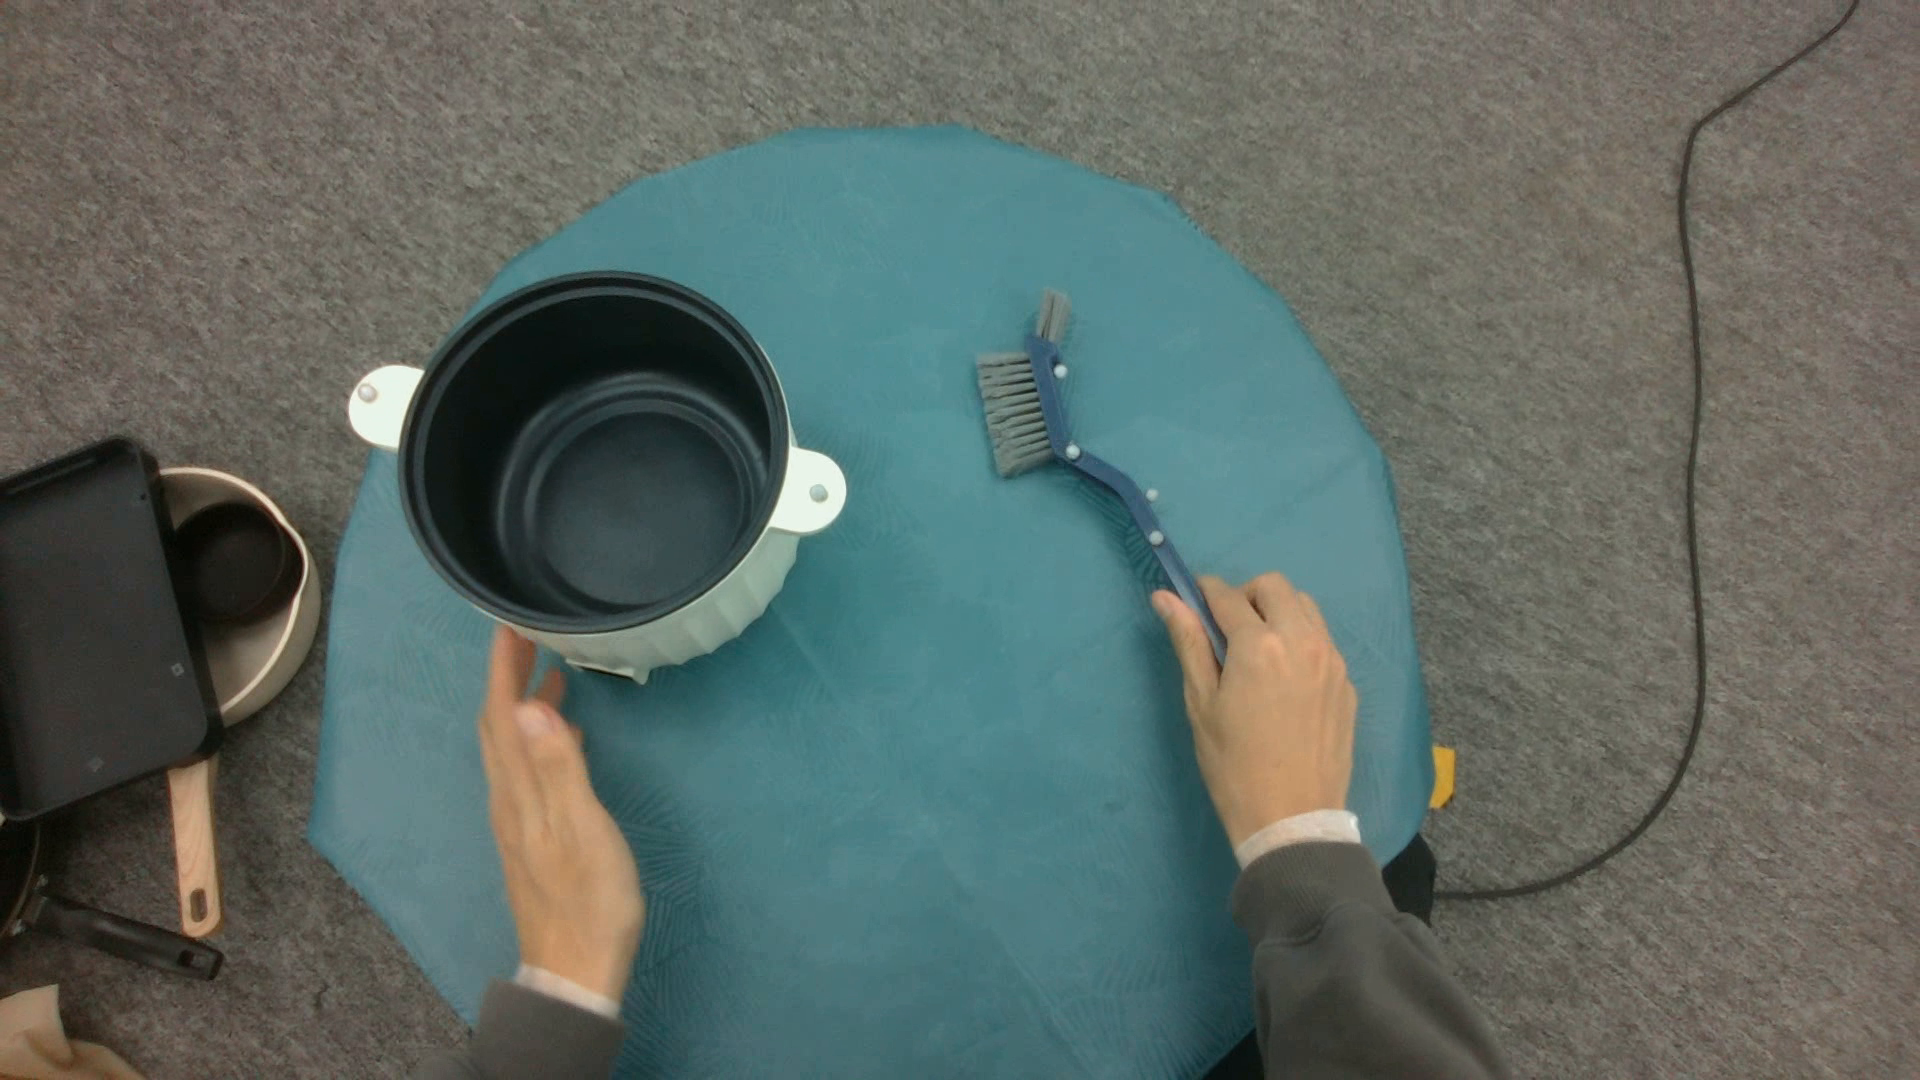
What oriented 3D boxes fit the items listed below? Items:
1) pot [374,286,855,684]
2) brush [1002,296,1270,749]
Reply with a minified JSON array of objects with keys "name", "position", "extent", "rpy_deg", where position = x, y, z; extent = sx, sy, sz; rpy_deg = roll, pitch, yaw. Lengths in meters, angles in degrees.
[{"name":"pot","position":[-0.167,-0.028,0.727],"extent":[0.240,0.142,0.191],"rpy_deg":[11,76,3]},{"name":"brush","position":[0.110,-0.013,0.768],"extent":[0.096,0.033,0.273],"rpy_deg":[-35,71,-1]}]
